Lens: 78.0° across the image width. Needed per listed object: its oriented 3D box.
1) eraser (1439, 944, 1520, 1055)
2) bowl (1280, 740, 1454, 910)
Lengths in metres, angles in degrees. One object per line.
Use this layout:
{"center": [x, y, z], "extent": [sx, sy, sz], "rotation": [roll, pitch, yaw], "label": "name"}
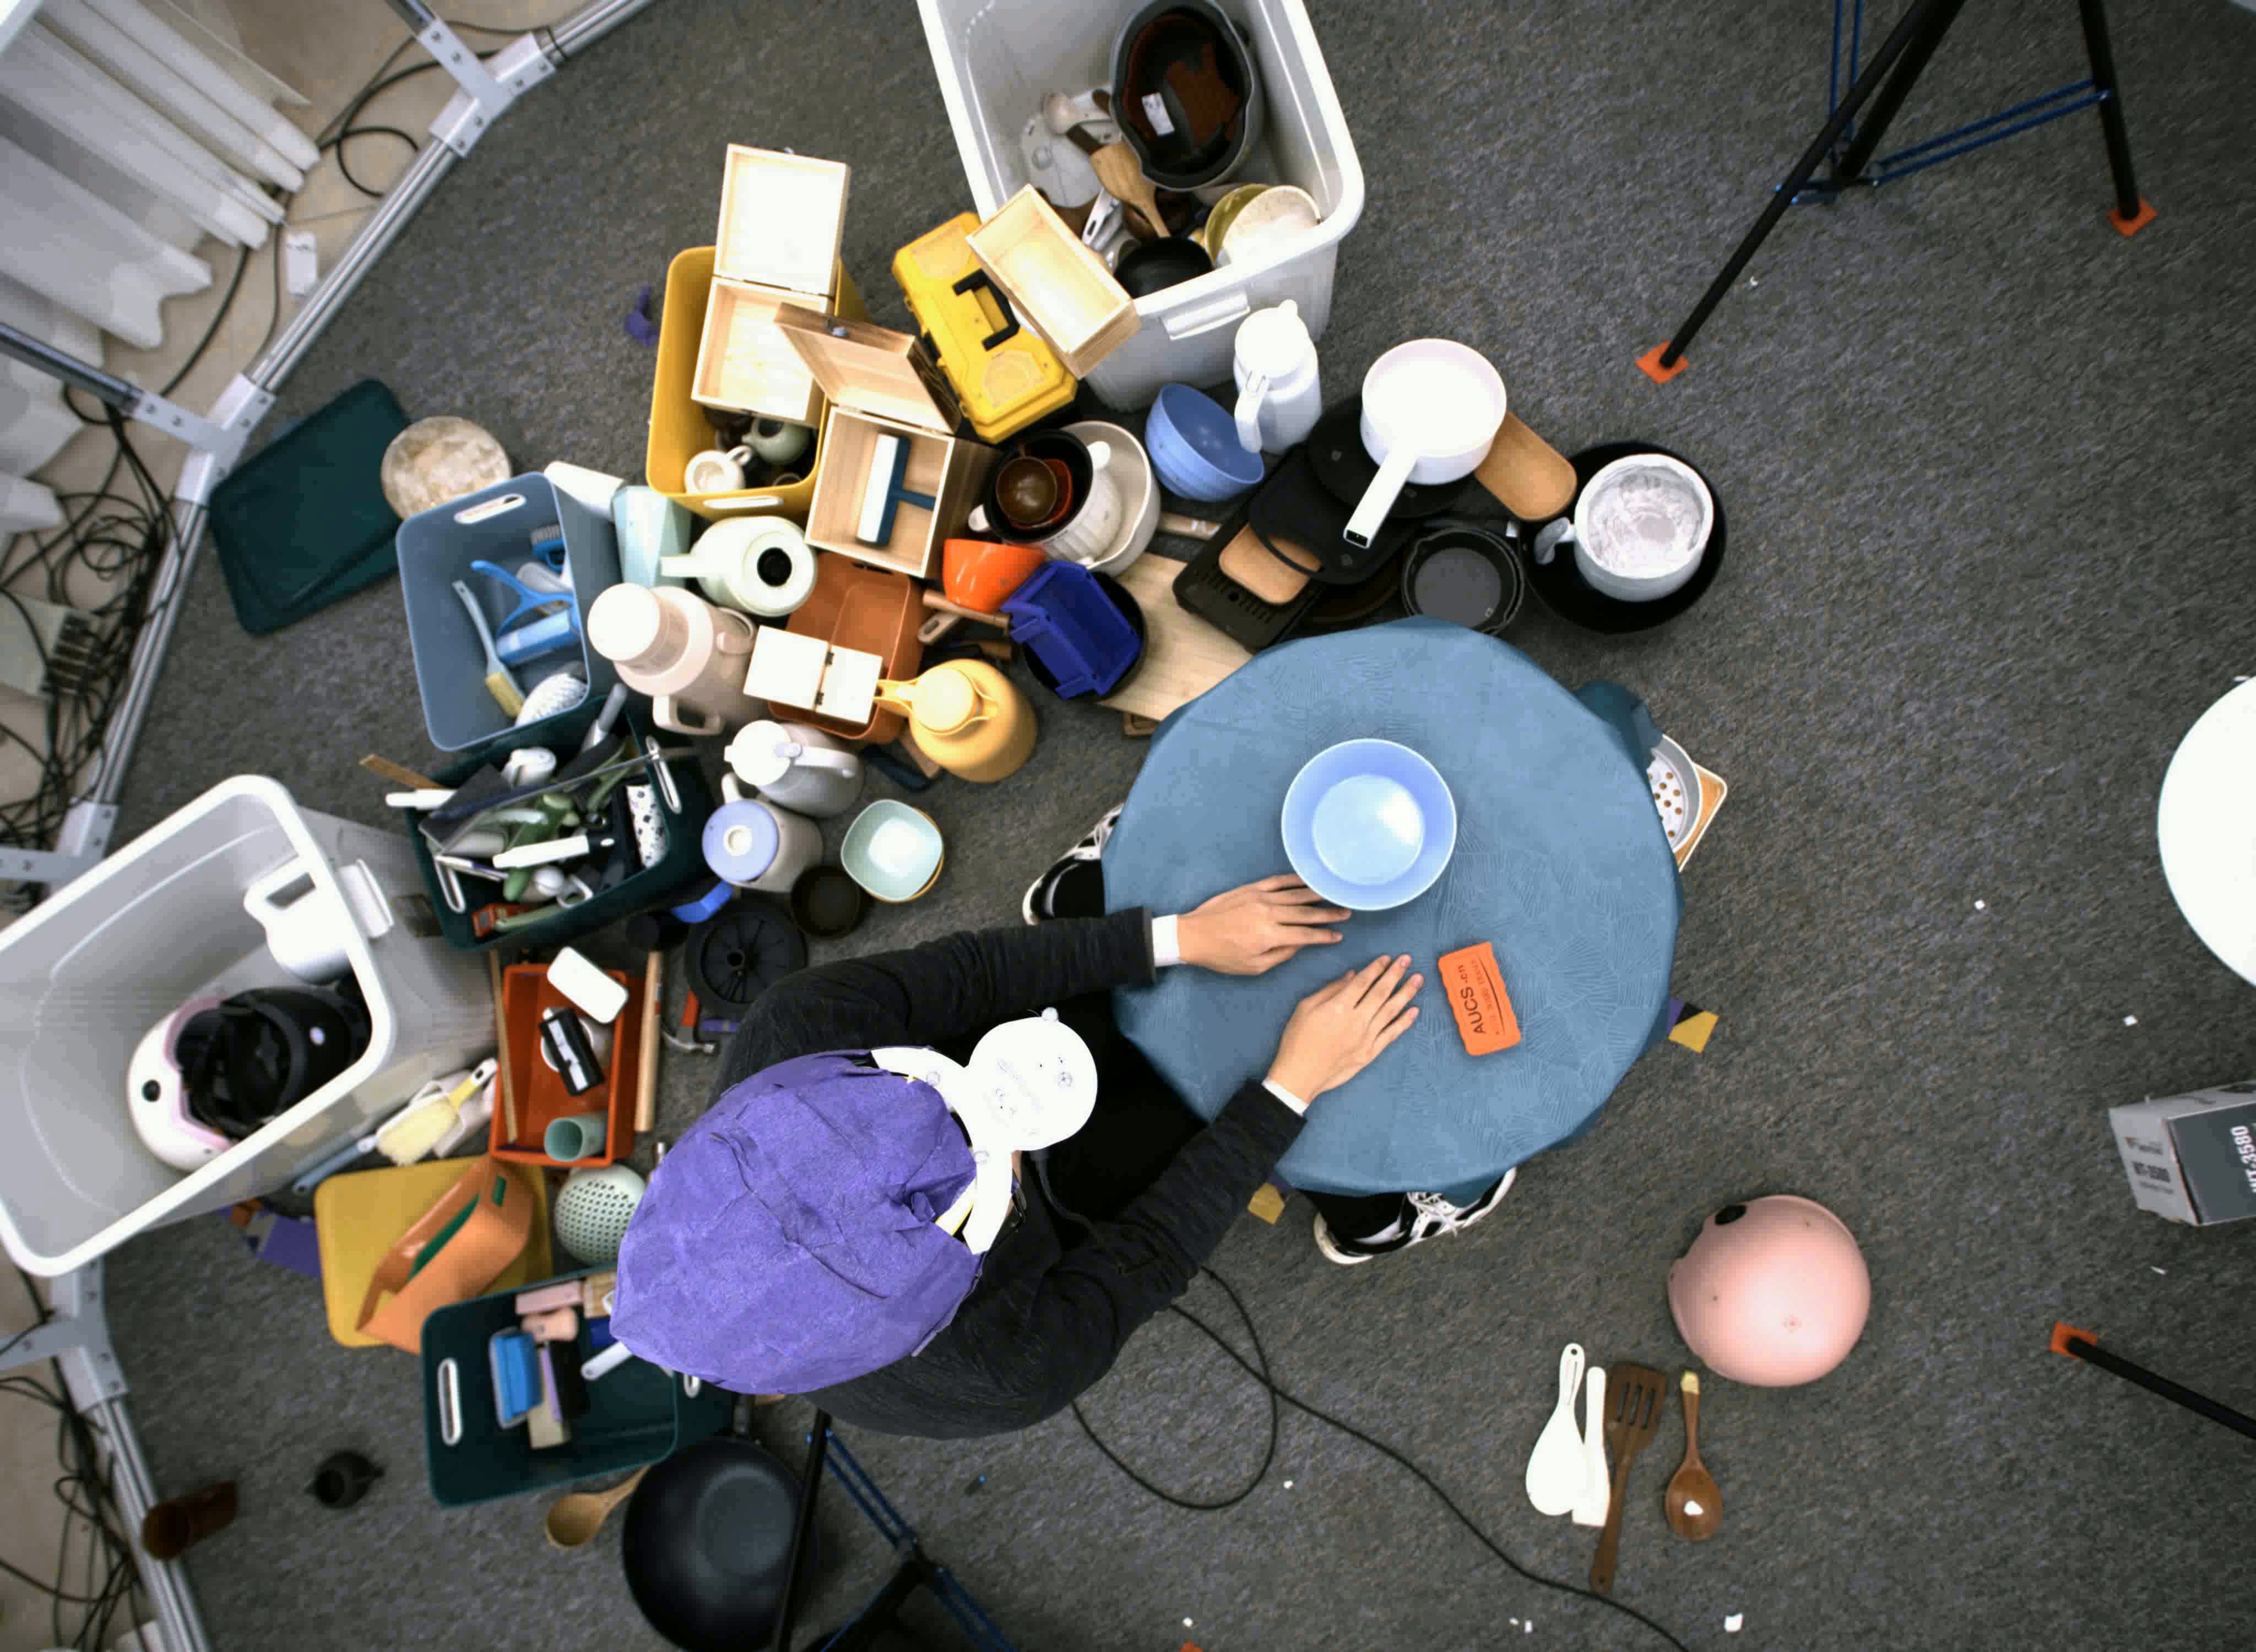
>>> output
{"center": [0.363, 0.177, 1.425], "extent": [0.059, 0.023, 0.107], "rotation": [-17, 85, 6], "label": "eraser"}
{"center": [0.248, 0.001, 1.433], "extent": [0.177, 0.070, 0.175], "rotation": [-1, 87, 10], "label": "bowl"}
